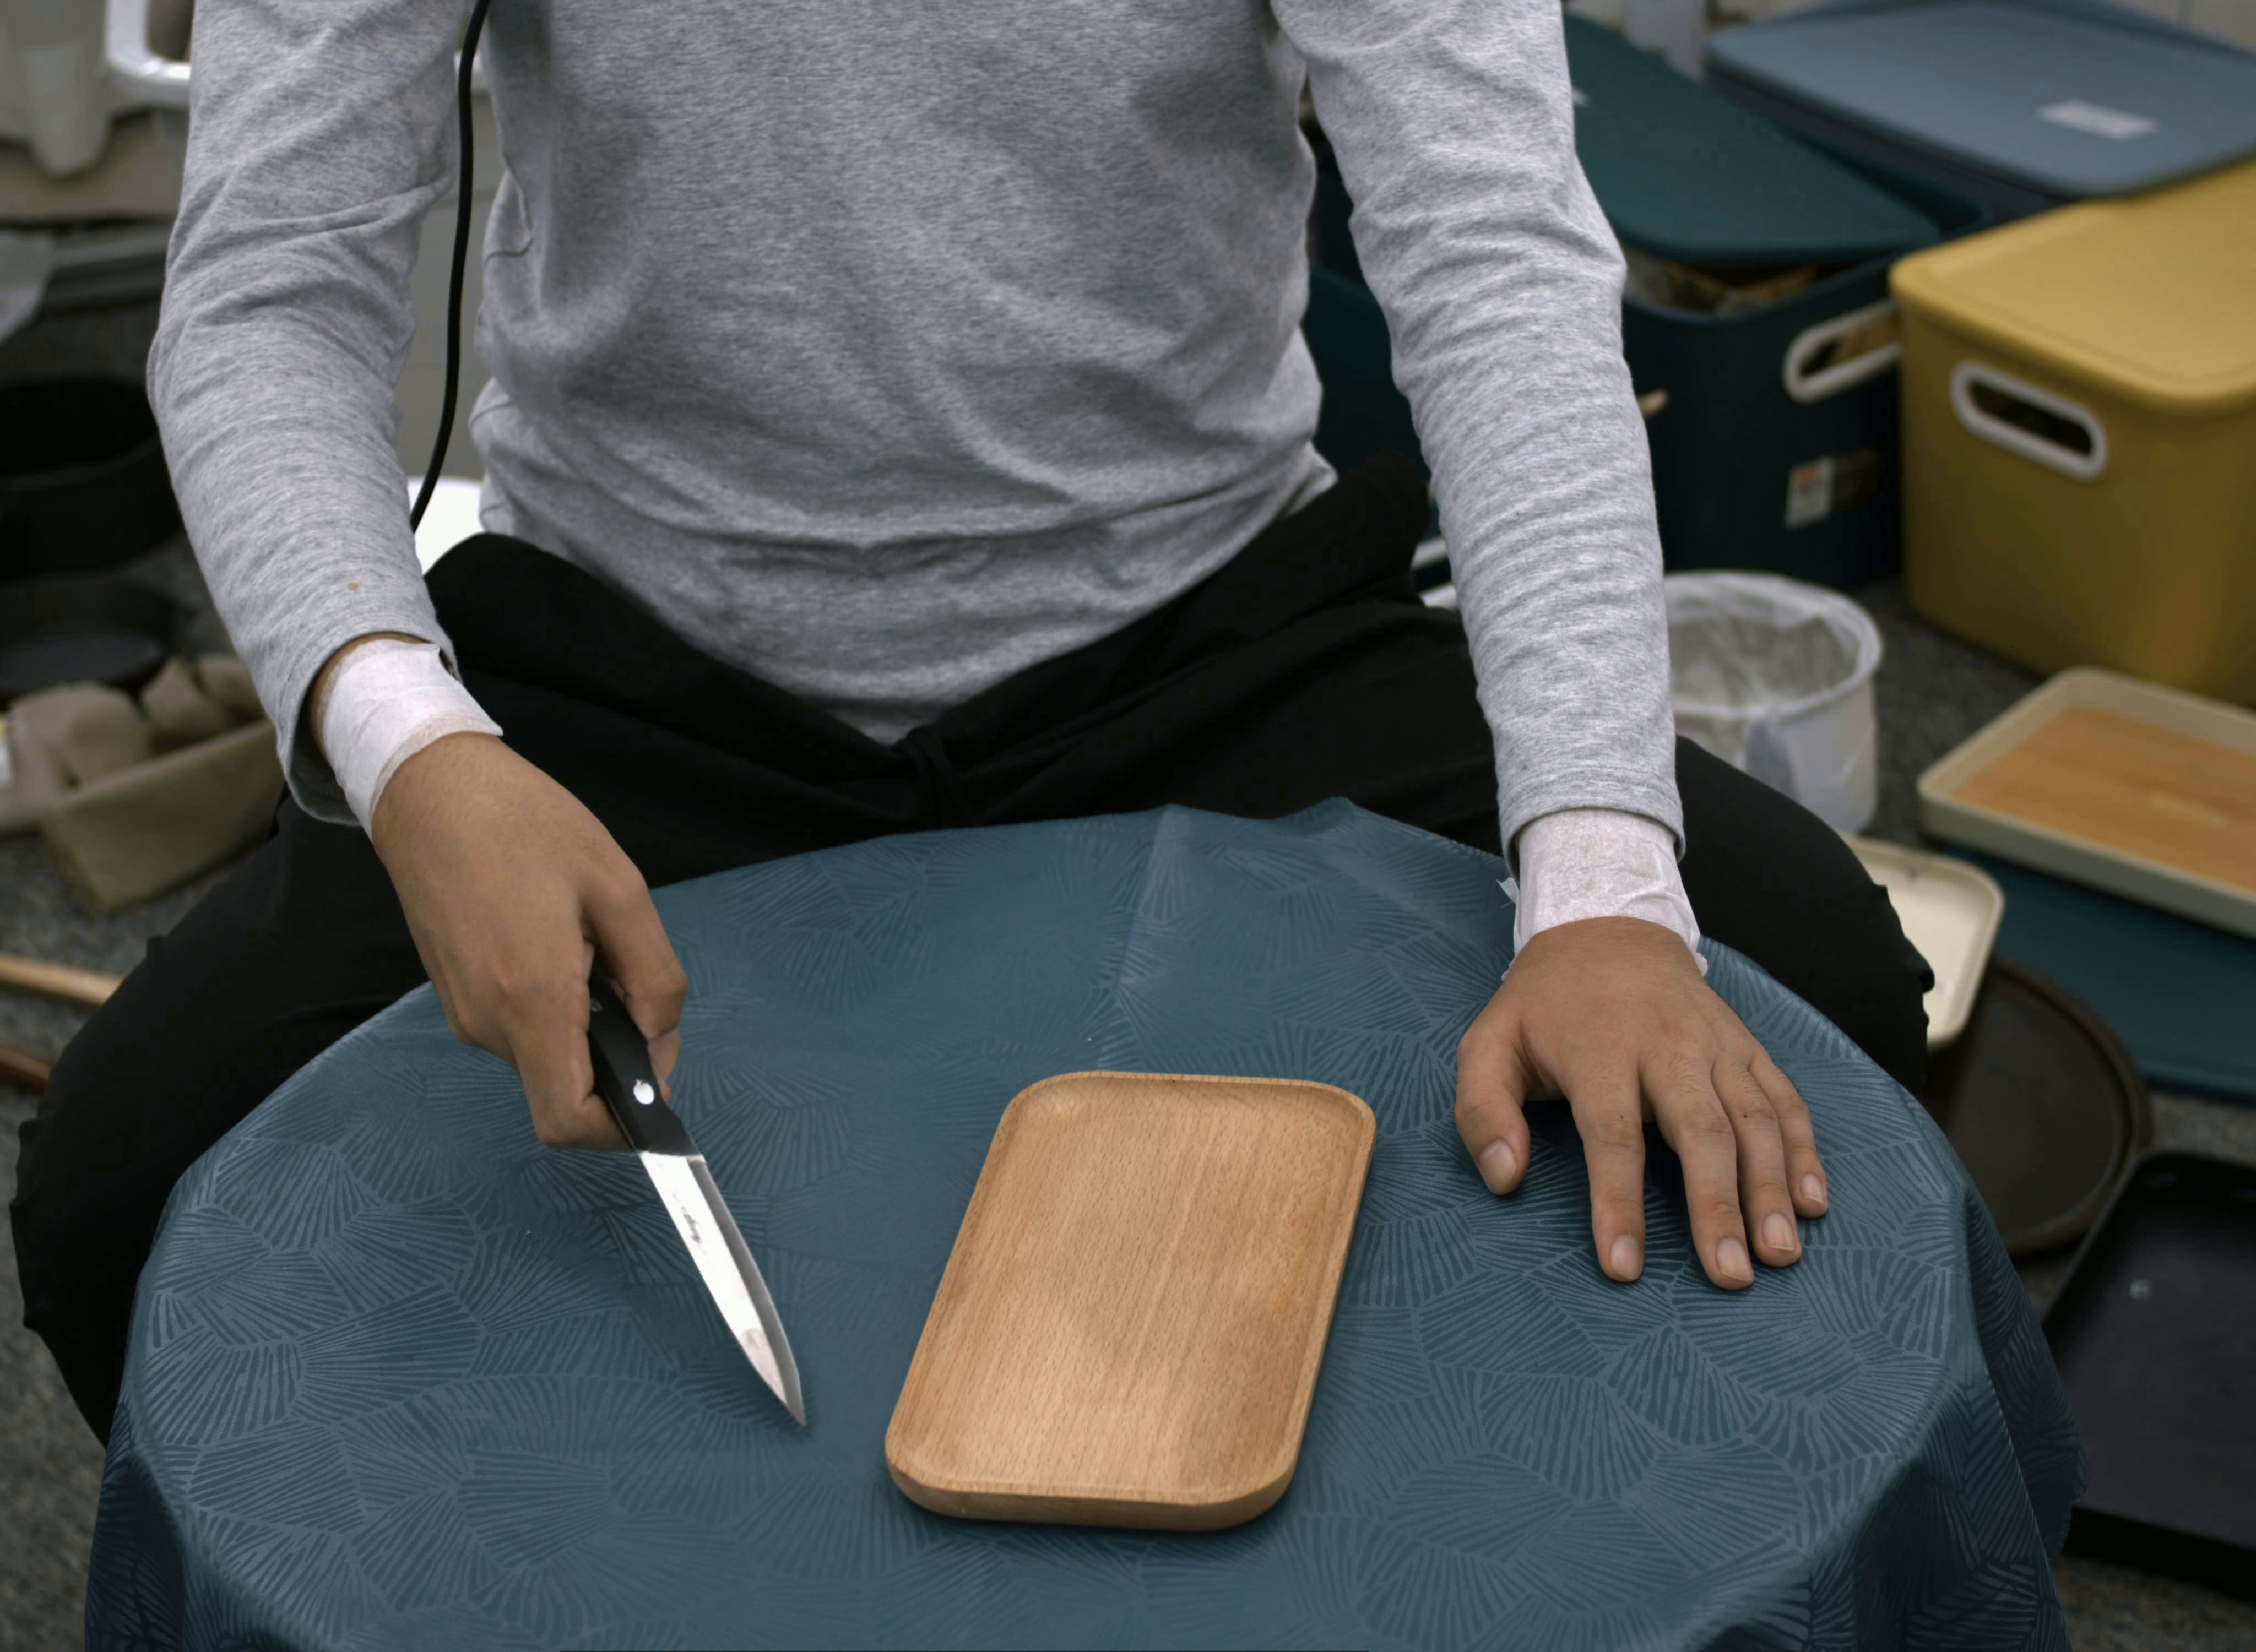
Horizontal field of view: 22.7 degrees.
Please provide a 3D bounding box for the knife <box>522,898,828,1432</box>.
[{"bbox_3d":[-0.148,0.108,1.811,0.024,0.016,0.241,-8,46,-29],"label":"knife"}]

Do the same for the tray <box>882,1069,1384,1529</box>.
[{"bbox_3d":[0.005,0.148,1.792,0.130,0.022,0.255,5,27,9],"label":"tray"}]
